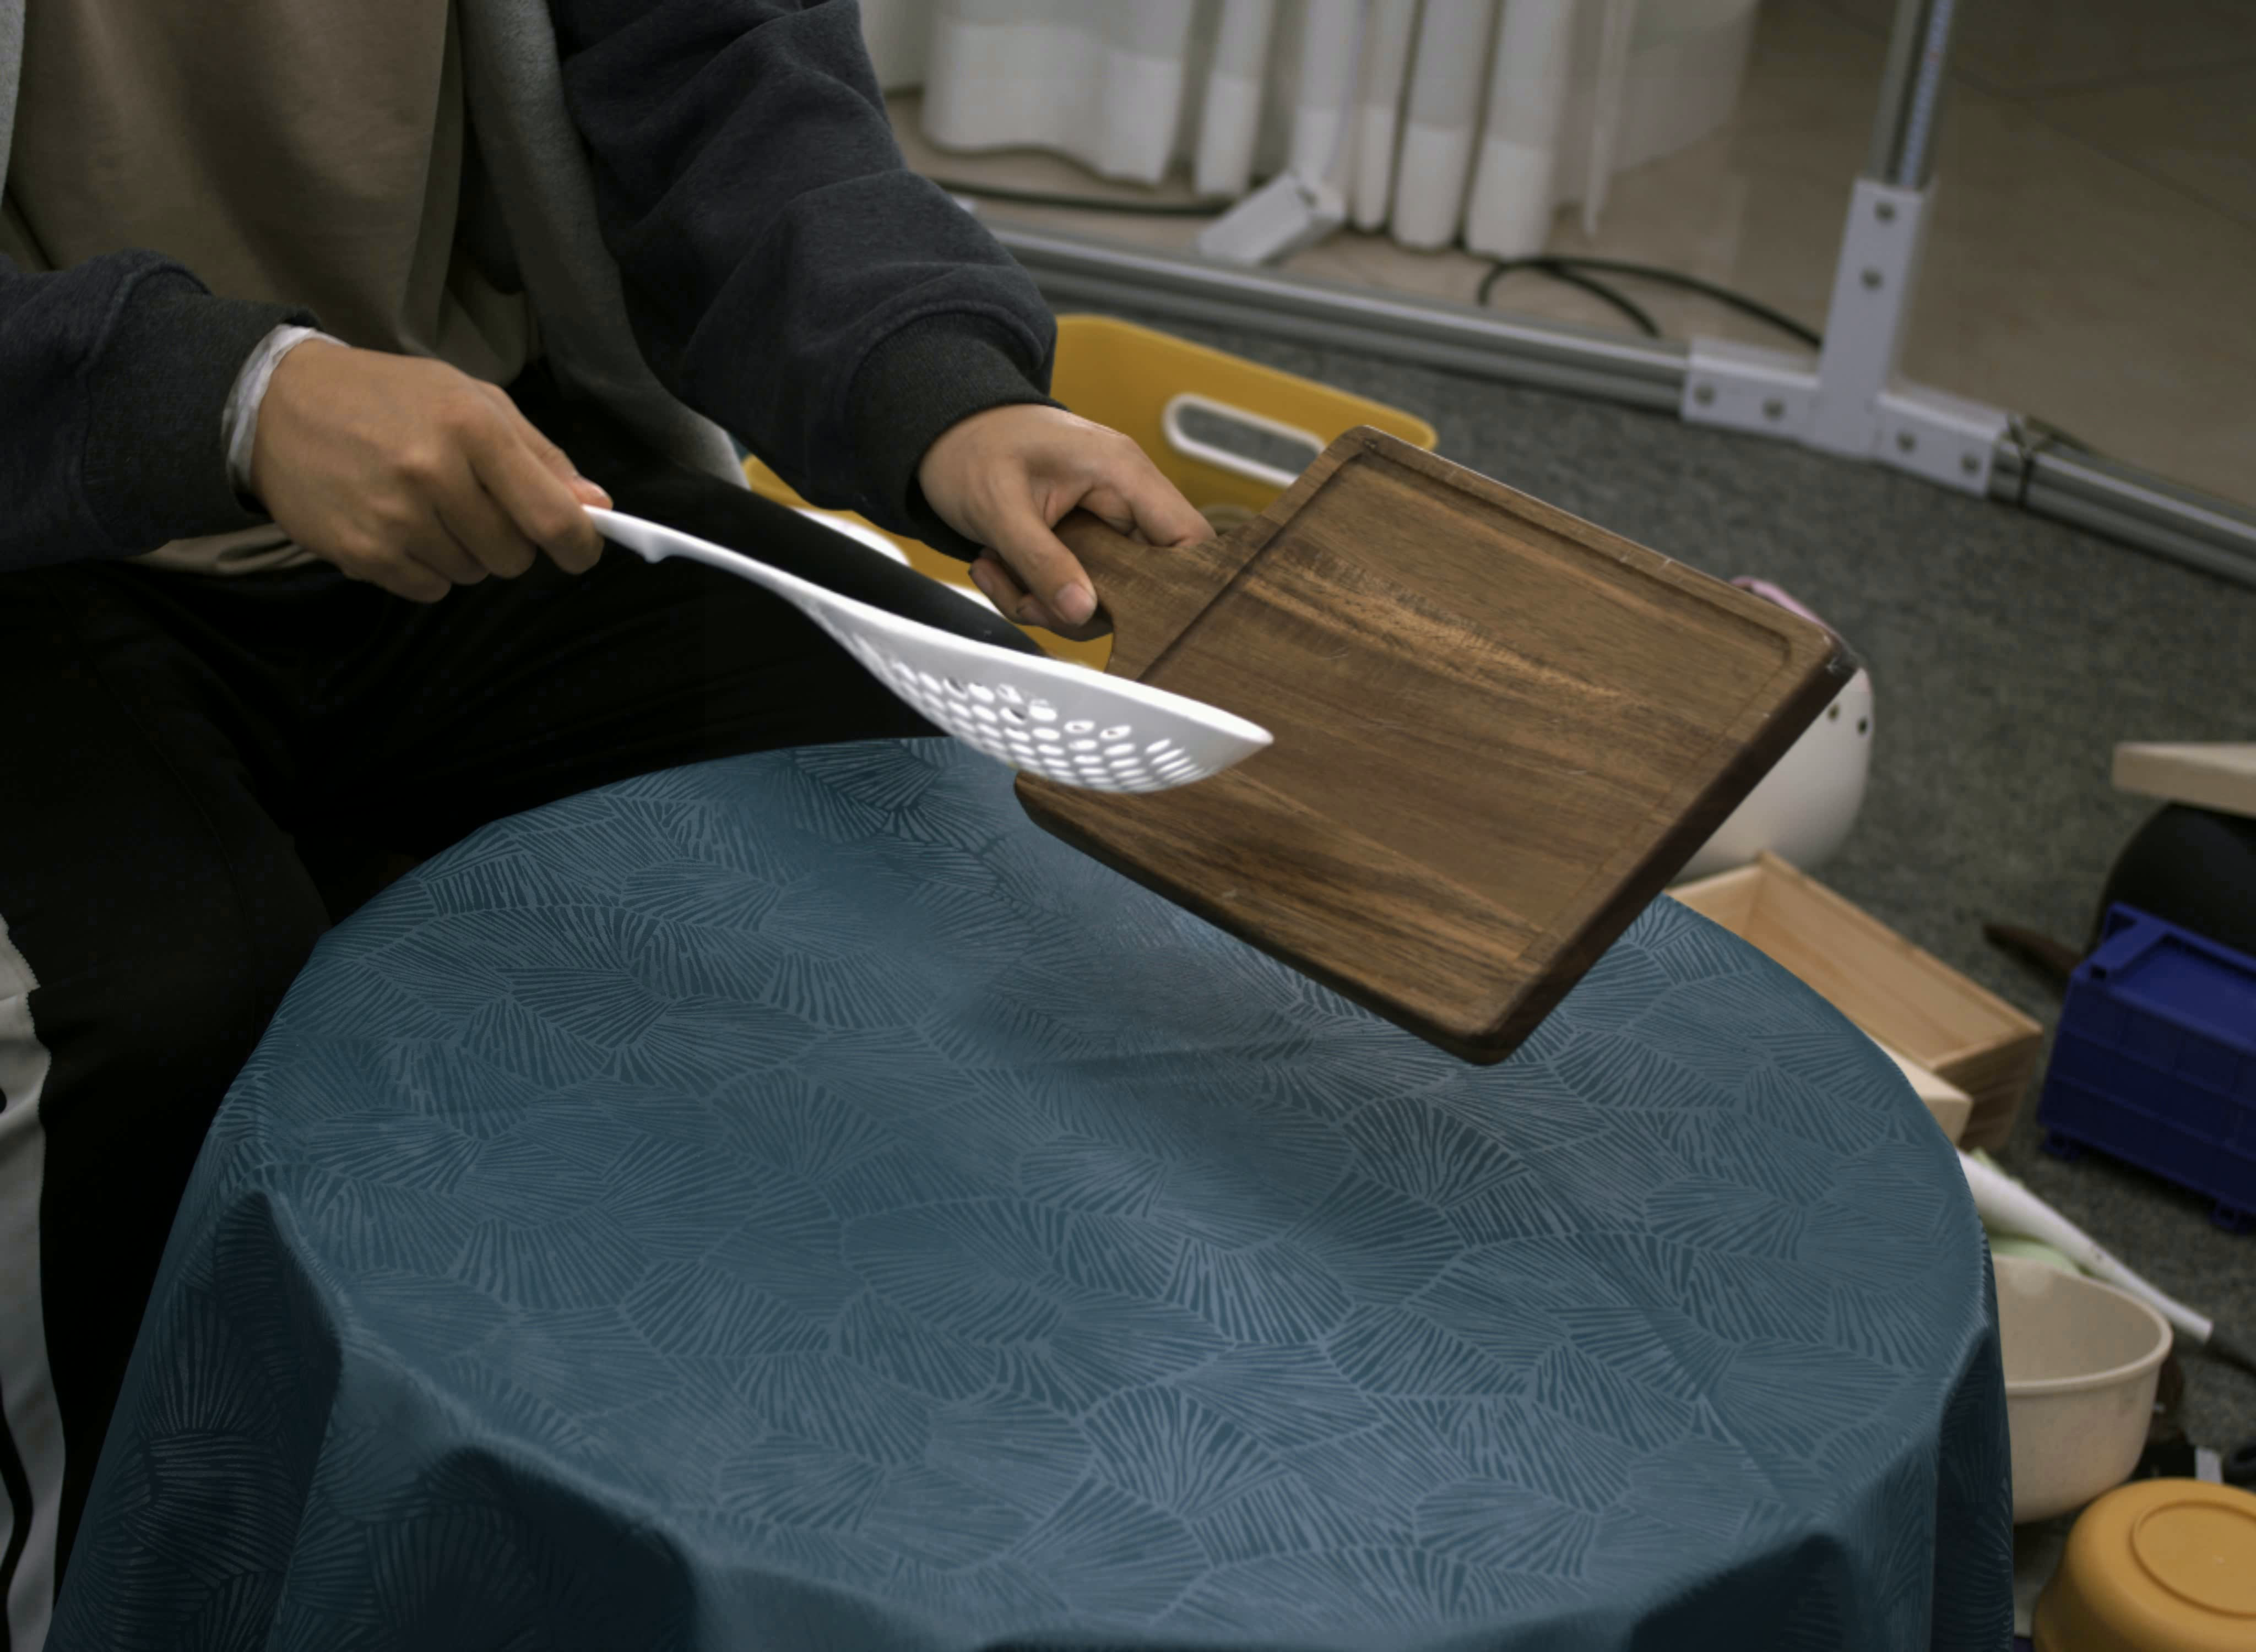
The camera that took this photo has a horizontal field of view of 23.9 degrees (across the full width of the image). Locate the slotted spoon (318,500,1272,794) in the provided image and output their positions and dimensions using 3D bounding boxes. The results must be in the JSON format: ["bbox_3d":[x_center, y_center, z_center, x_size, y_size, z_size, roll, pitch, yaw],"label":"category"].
[{"bbox_3d":[-0.118,-0.072,1.810,0.349,0.050,0.136,22,6,19],"label":"slotted spoon"}]

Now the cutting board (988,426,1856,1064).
[{"bbox_3d":[0.071,-0.051,1.888,0.201,0.023,0.355,-46,44,-16],"label":"cutting board"}]
